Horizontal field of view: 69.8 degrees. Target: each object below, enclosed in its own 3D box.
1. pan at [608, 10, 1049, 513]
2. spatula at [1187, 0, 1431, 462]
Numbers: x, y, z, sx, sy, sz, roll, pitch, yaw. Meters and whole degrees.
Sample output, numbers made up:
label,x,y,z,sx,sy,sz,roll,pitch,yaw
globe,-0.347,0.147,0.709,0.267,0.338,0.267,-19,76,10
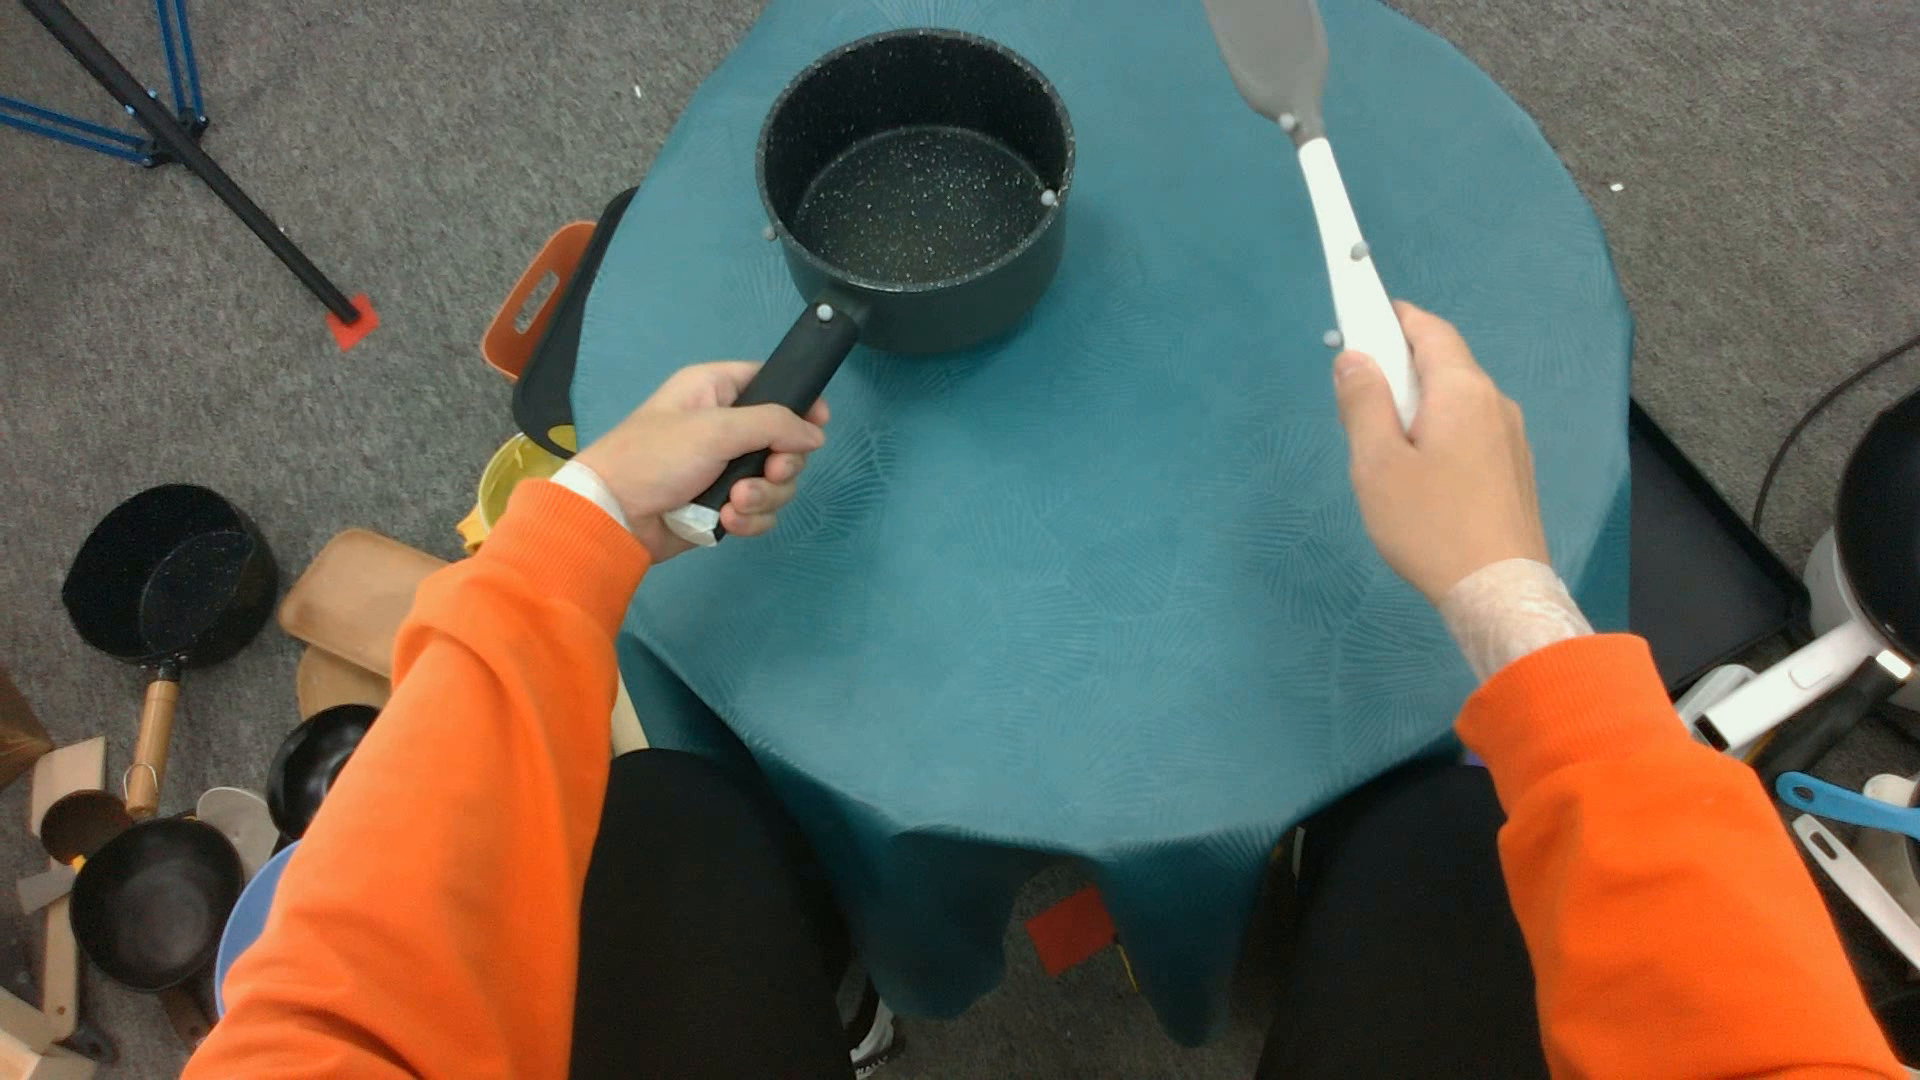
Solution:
label,x,y,z,sx,sy,sz,roll,pitch,yaw
pan,-0.074,-0.138,0.736,0.172,0.086,0.330,25,68,13
spatula,0.170,-0.171,0.672,0.058,0.032,0.288,-23,63,26
